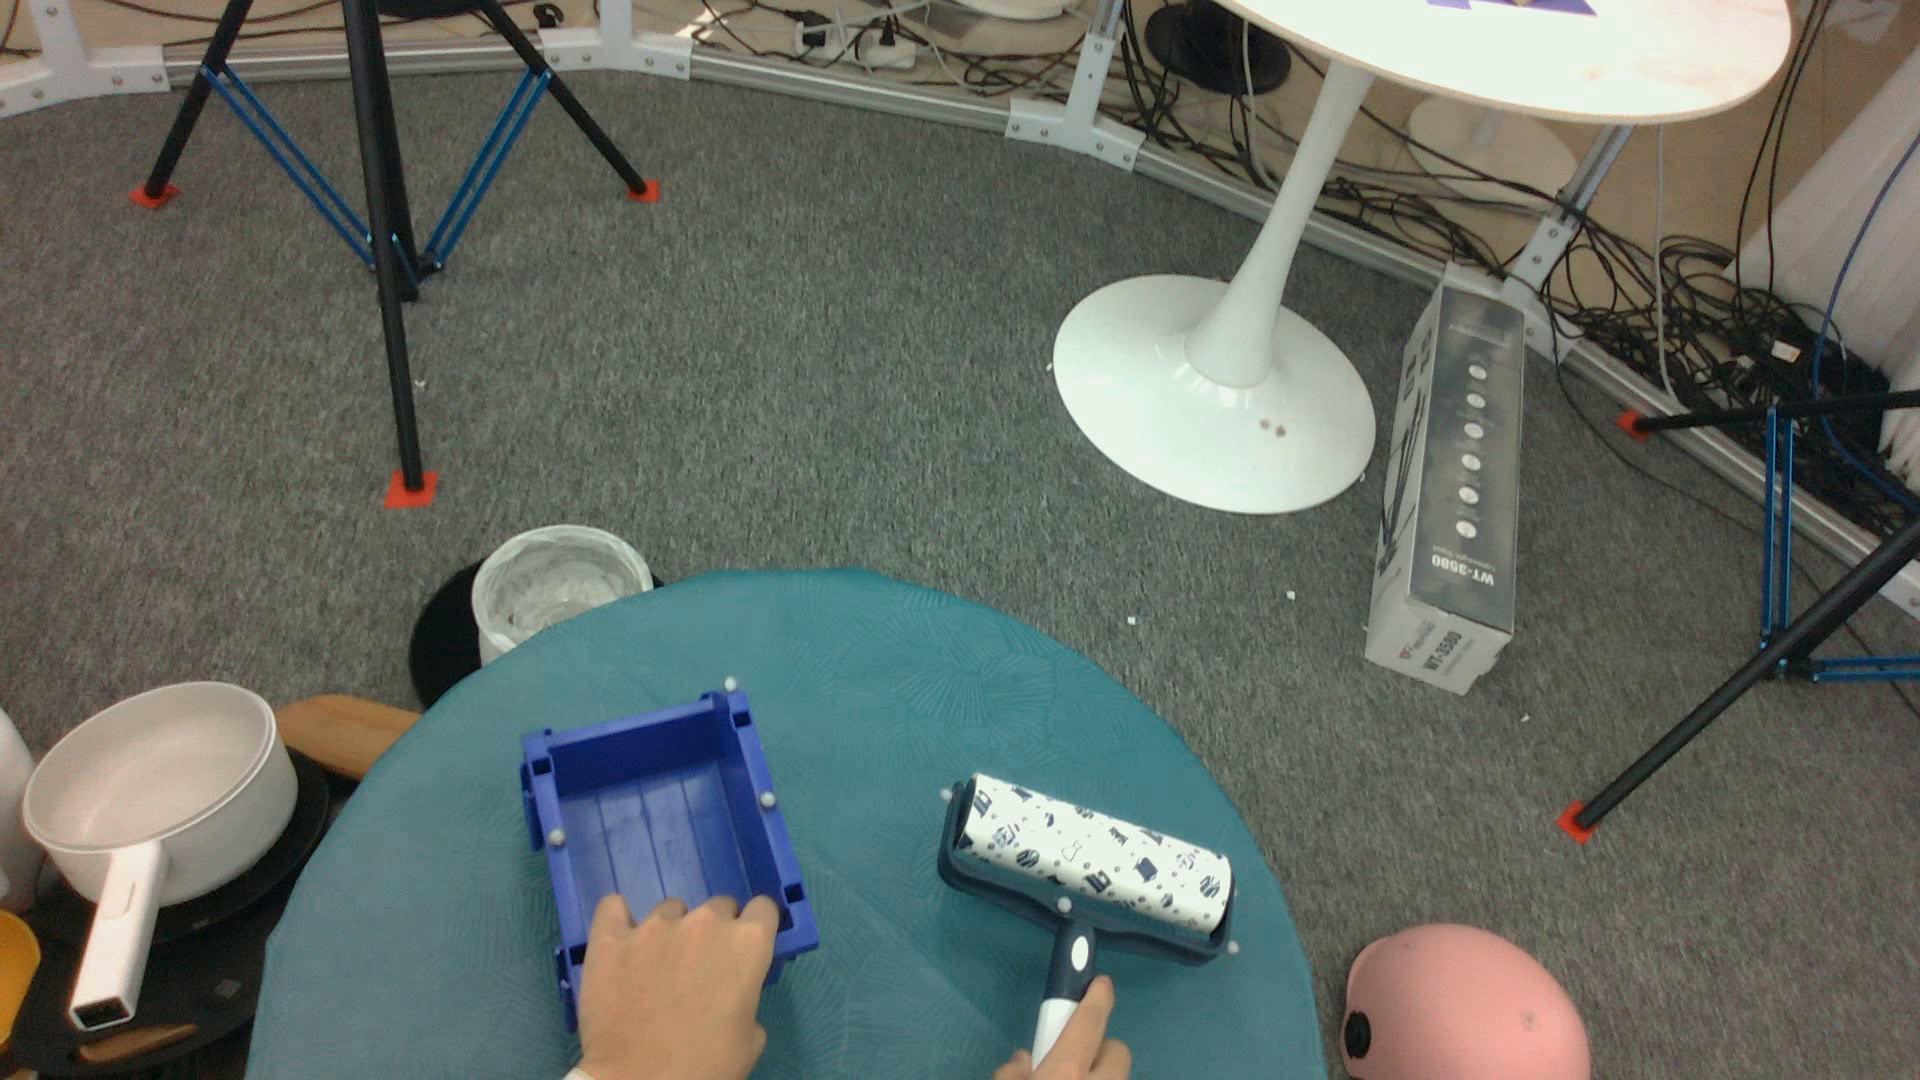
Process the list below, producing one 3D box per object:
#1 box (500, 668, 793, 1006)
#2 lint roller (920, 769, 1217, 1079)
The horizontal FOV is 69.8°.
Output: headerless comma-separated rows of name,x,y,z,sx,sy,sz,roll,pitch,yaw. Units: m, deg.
box,-0.178,0.155,0.753,0.125,0.081,0.180,-10,58,-20
lint roller,0.049,0.257,0.745,0.176,0.050,0.248,19,50,-8
